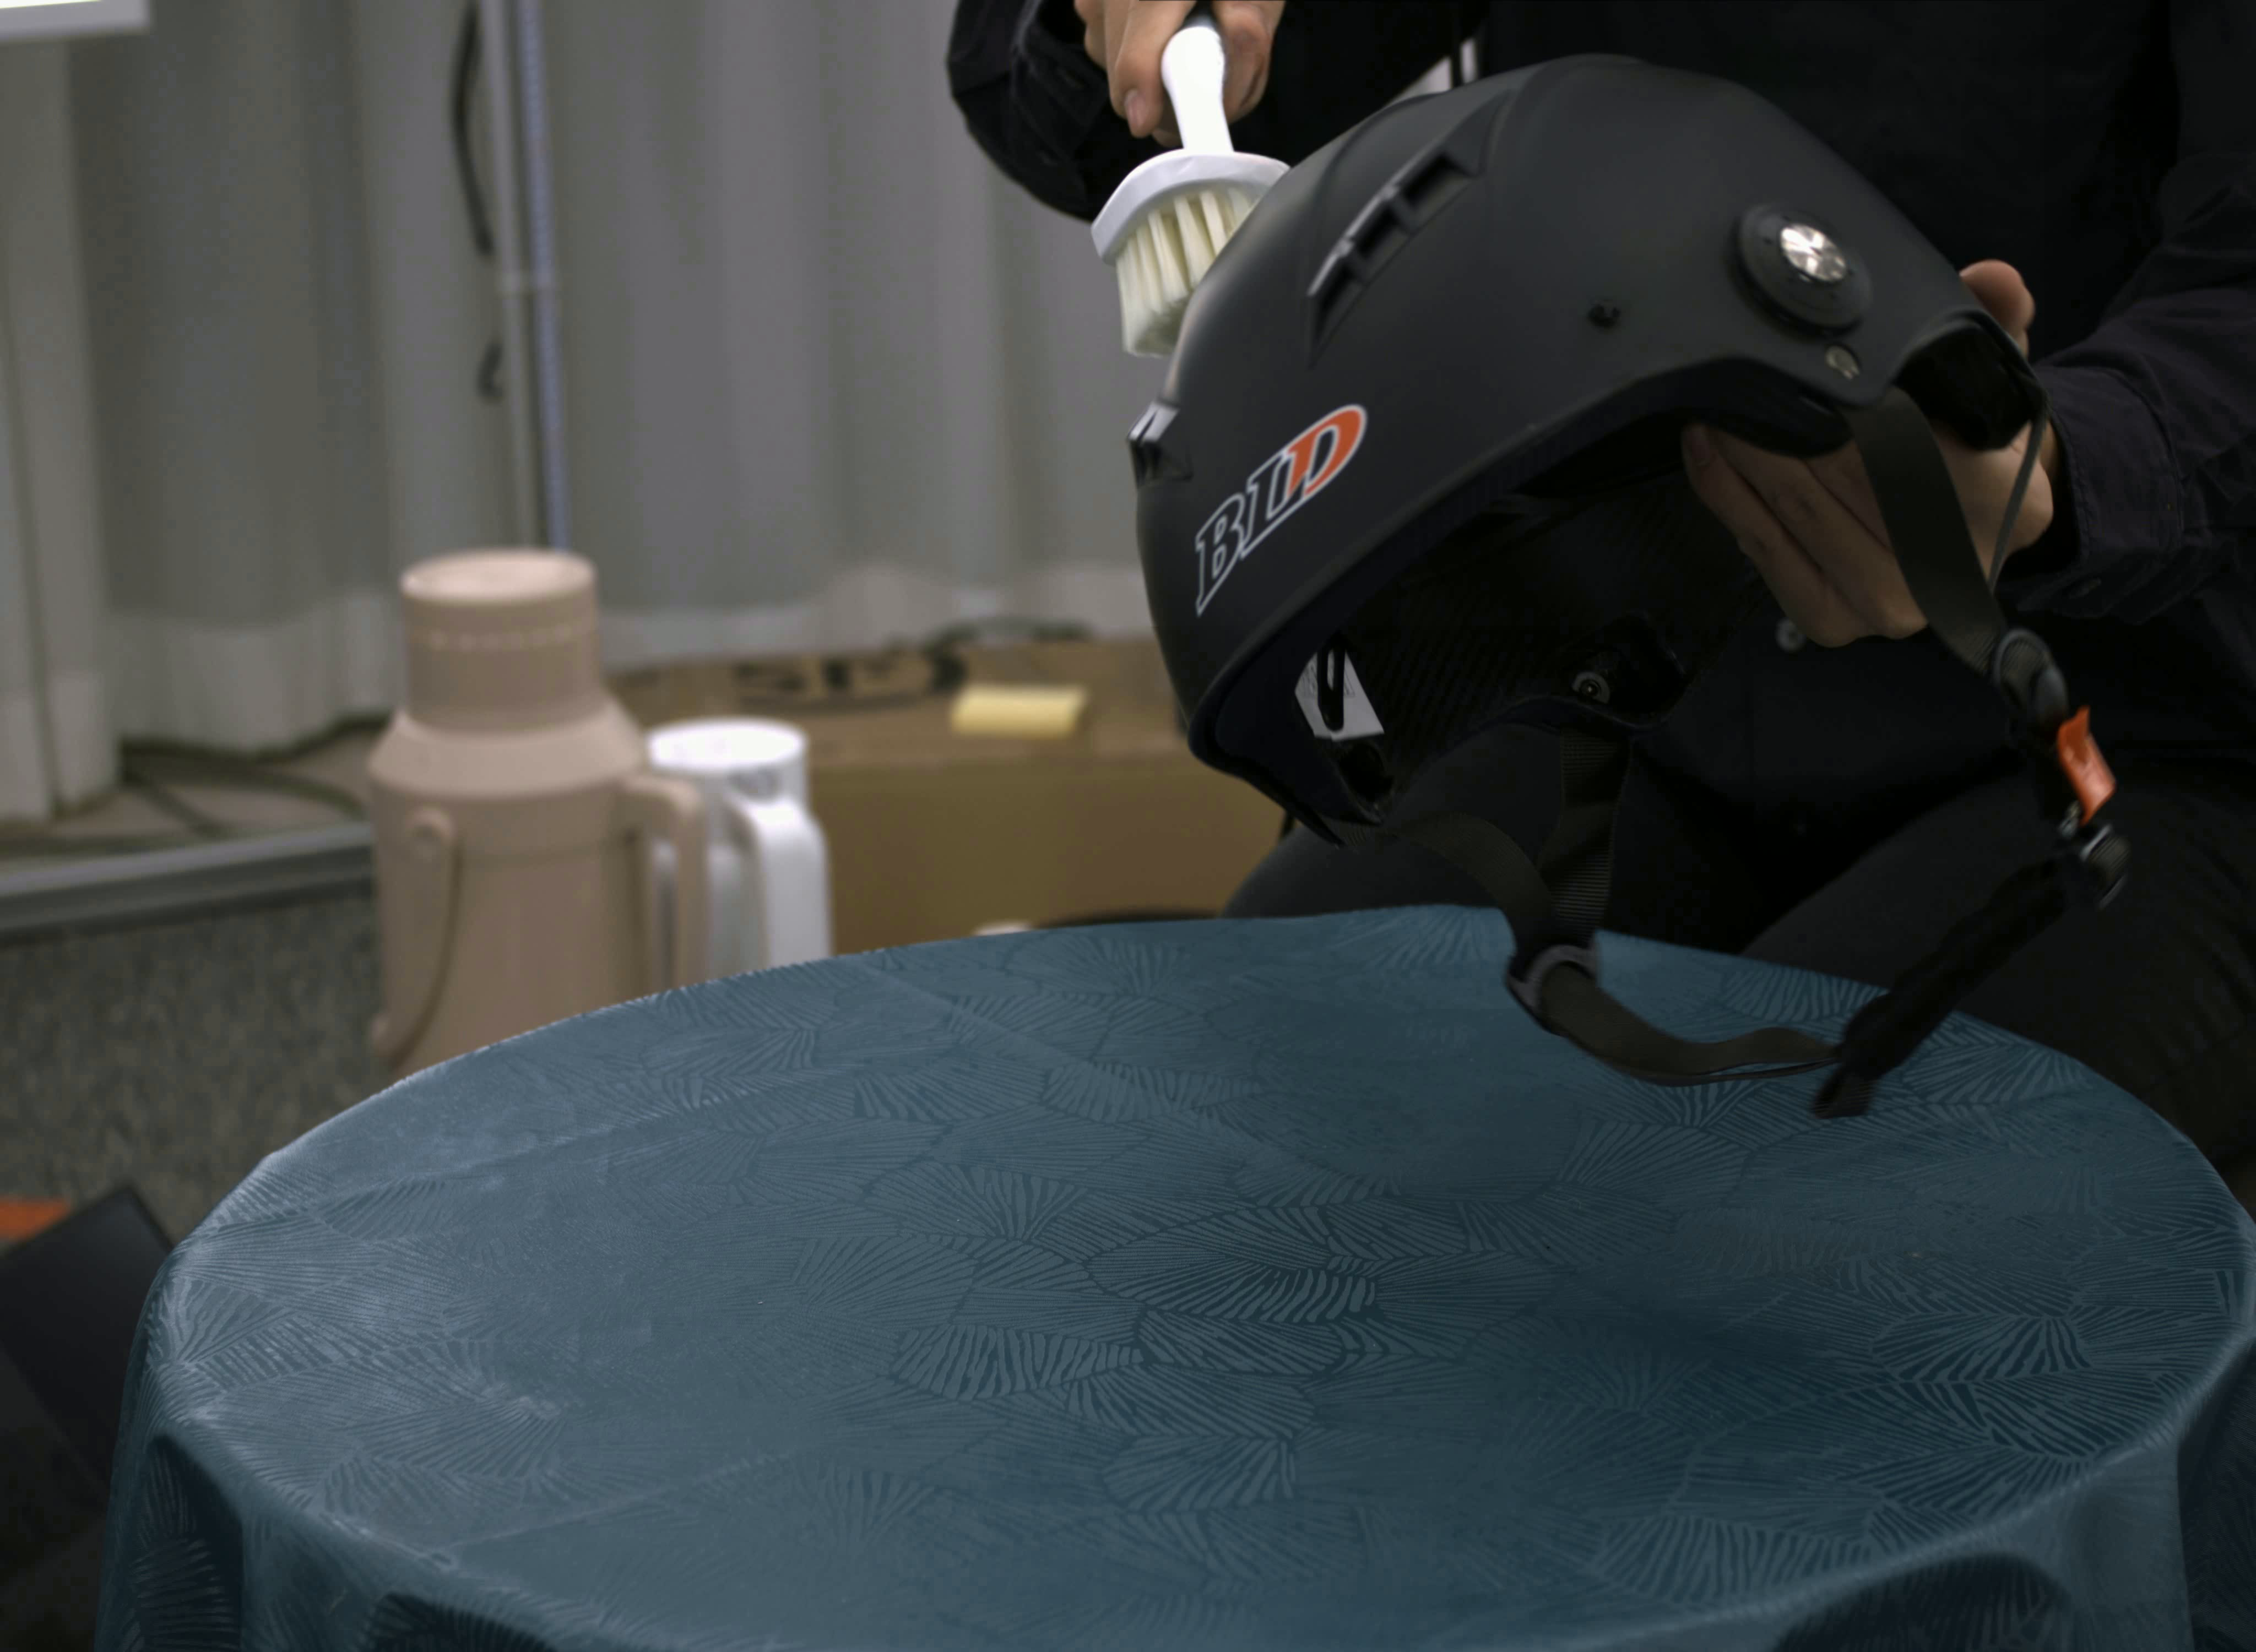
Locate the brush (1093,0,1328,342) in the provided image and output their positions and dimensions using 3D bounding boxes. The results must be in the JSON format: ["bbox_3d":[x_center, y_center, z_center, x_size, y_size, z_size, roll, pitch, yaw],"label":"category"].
[{"bbox_3d":[0.039,-0.194,1.623,0.083,0.085,0.325,15,16,0],"label":"brush"}]

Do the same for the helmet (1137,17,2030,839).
[{"bbox_3d":[0.111,-0.124,1.443,0.270,0.174,0.249,-13,-23,-49],"label":"helmet"}]
